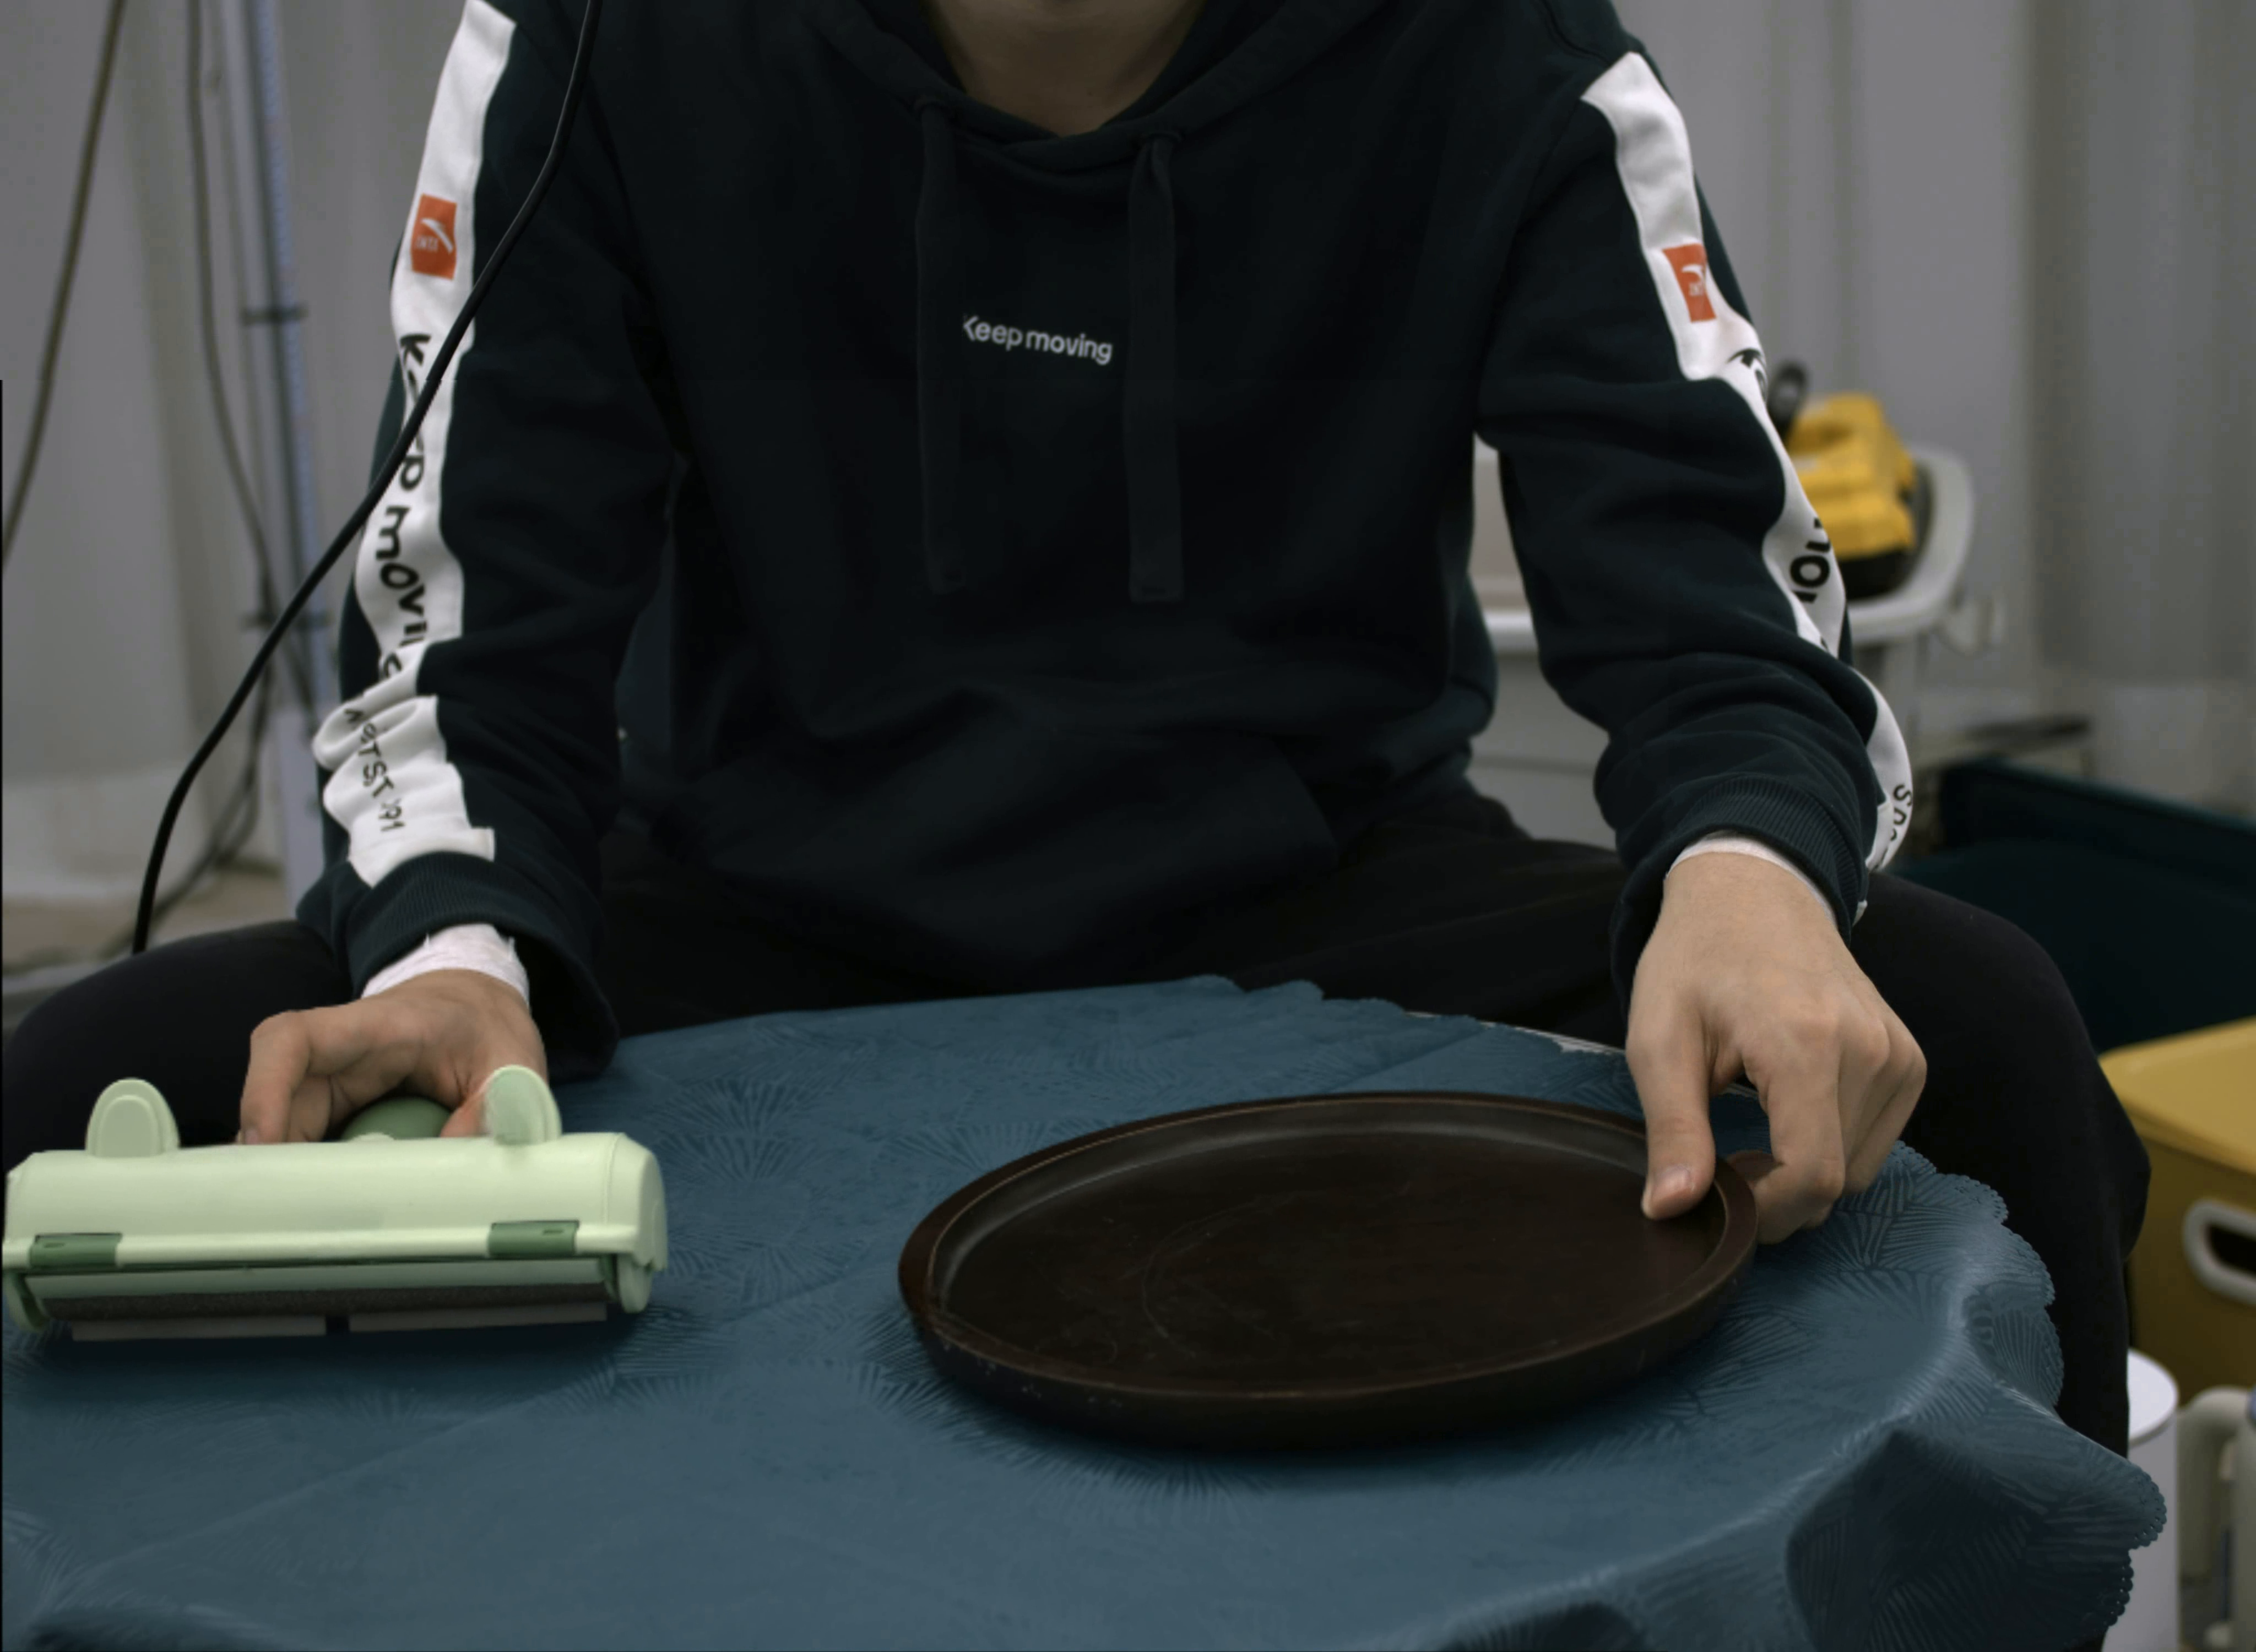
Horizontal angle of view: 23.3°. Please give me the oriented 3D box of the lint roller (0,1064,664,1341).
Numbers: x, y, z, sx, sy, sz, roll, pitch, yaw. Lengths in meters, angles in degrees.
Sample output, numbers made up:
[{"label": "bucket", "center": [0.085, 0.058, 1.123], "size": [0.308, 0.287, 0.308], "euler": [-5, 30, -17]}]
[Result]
[{"label": "lint roller", "center": [-0.234, 0.096, 1.670], "size": [0.198, 0.081, 0.185], "euler": [-2, 20, 6]}]

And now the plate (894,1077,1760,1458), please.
[{"label": "plate", "center": [0.058, 0.129, 1.593], "size": [0.254, 0.029, 0.256], "euler": [-5, 16, 1]}]
